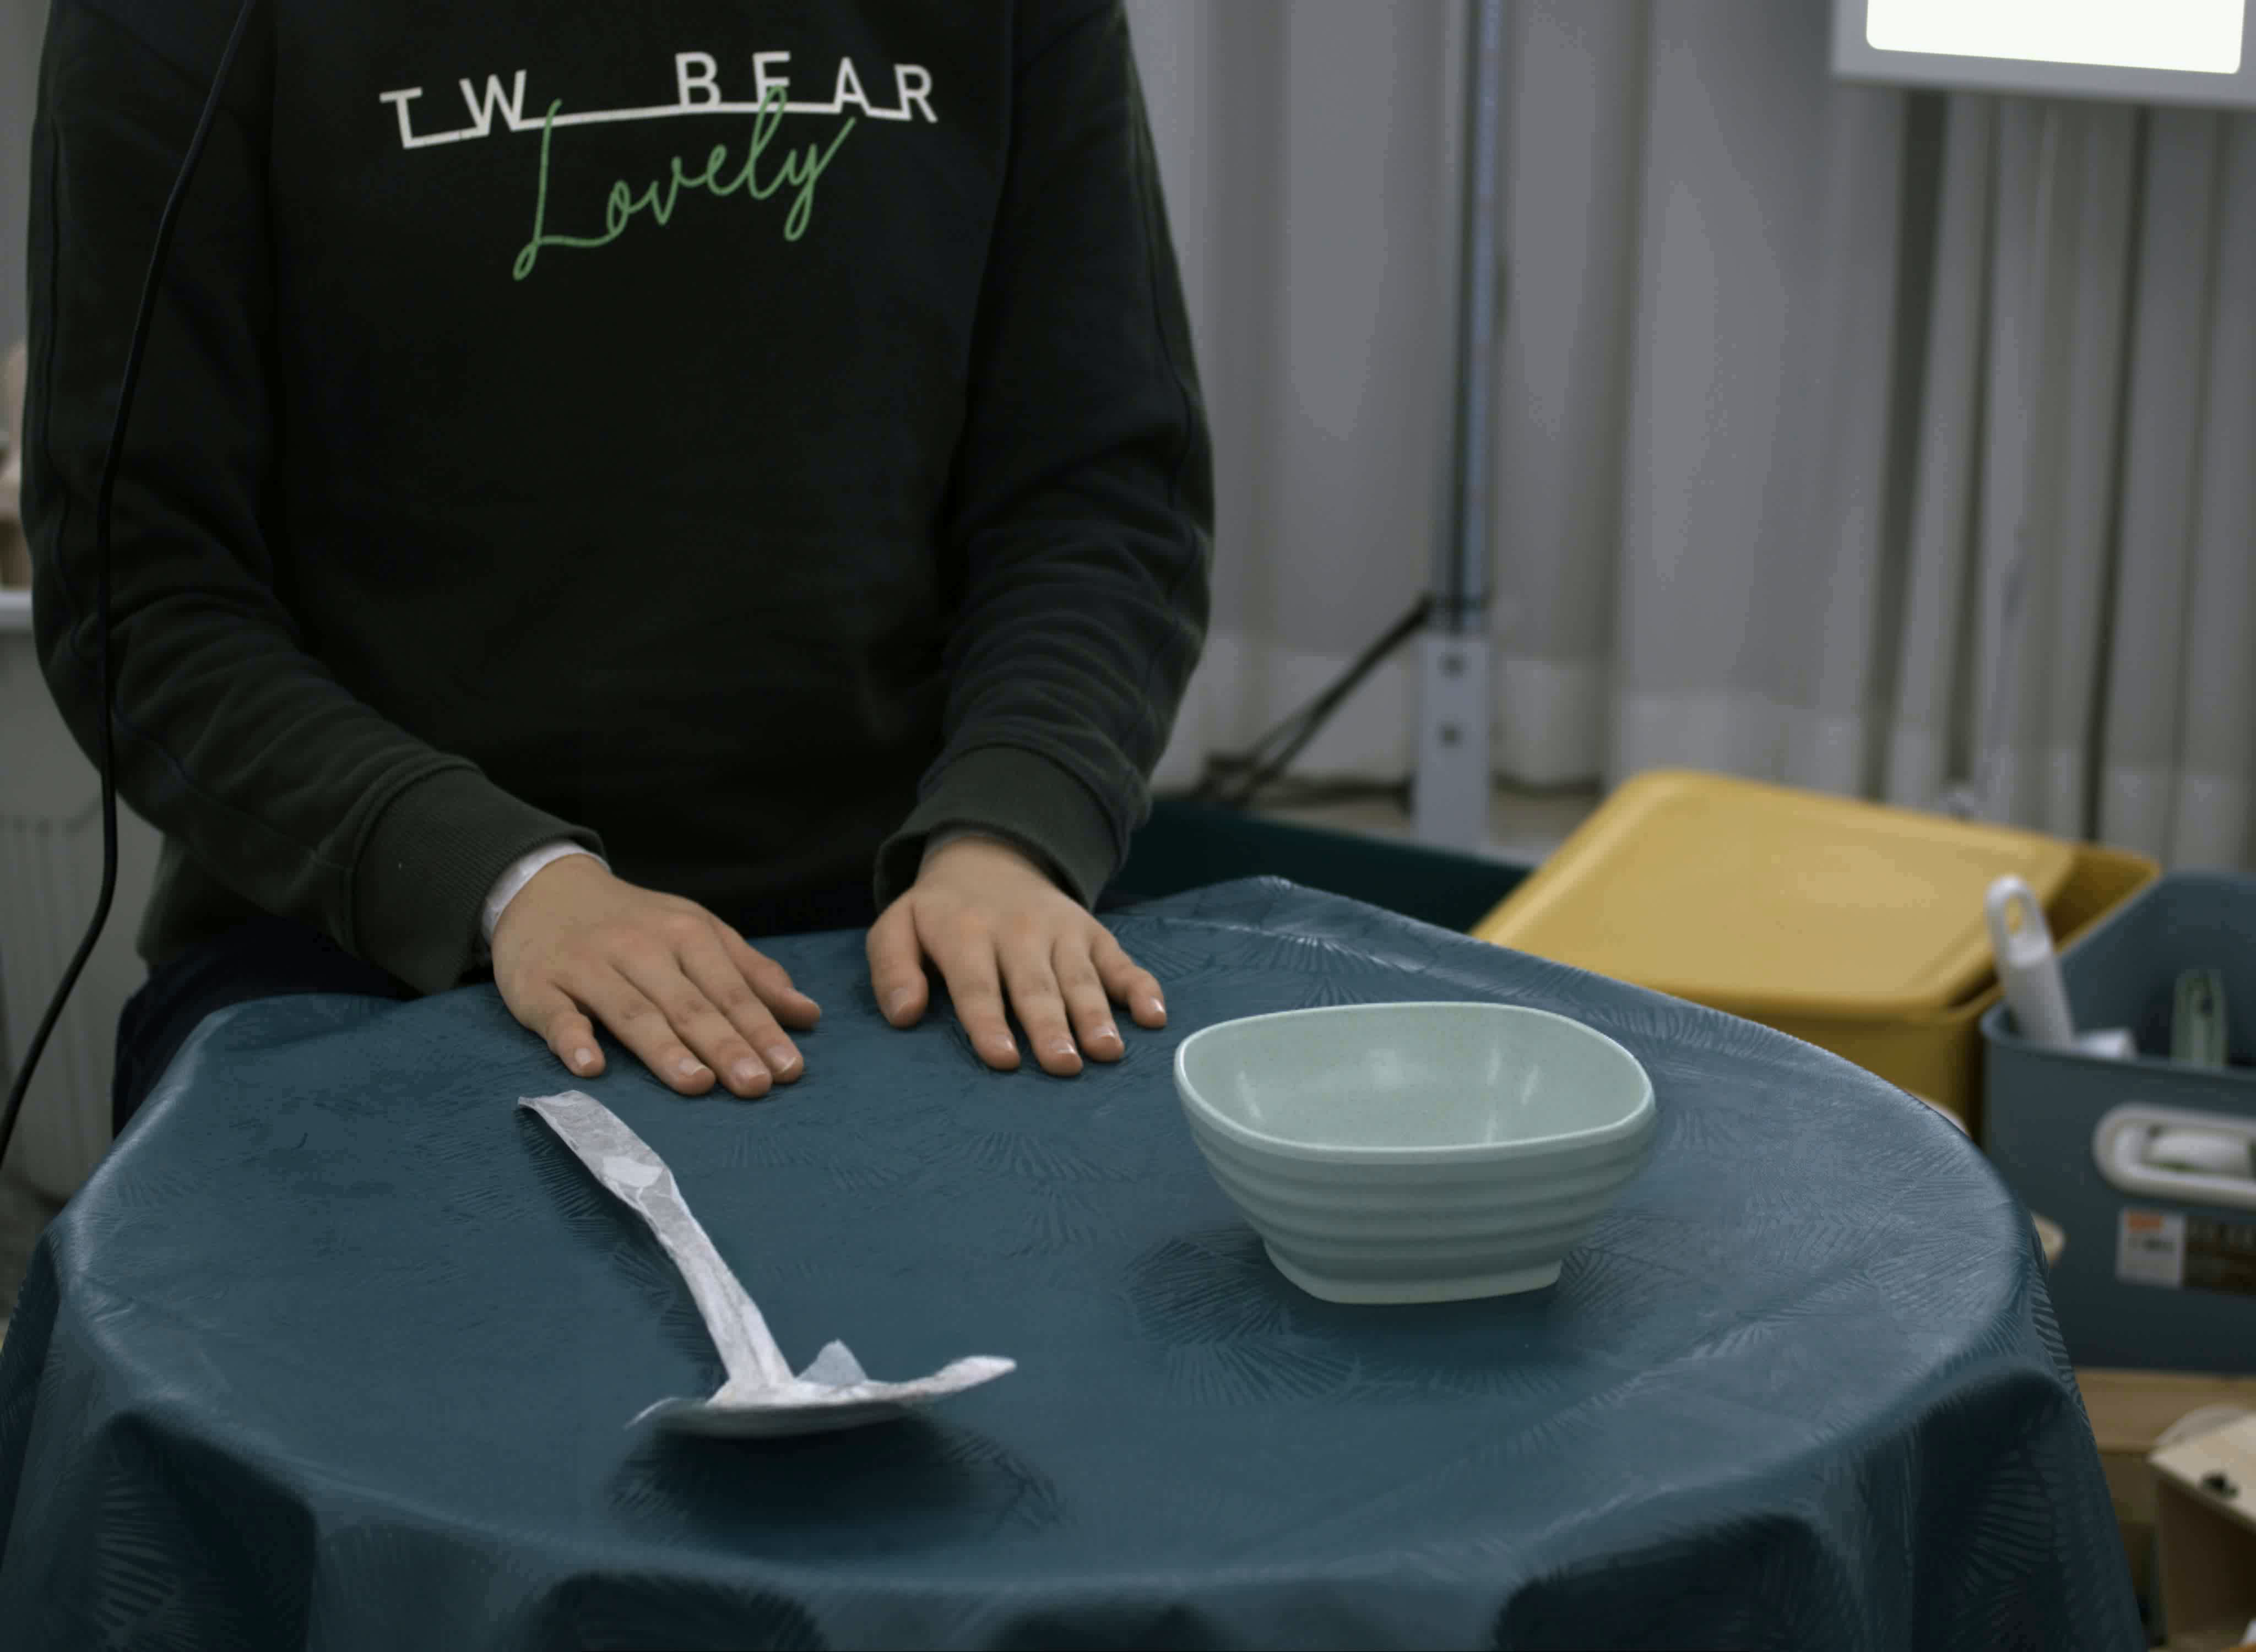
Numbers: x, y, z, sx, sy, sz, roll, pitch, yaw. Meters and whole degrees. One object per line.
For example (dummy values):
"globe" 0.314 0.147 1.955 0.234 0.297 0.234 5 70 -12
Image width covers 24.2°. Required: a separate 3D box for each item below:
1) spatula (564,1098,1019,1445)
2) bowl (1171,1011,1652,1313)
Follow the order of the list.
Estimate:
"spatula" -0.123 0.120 1.526 0.099 0.045 0.361 -6 17 -17
"bowl" 0.083 0.103 1.567 0.151 0.059 0.150 2 16 0
